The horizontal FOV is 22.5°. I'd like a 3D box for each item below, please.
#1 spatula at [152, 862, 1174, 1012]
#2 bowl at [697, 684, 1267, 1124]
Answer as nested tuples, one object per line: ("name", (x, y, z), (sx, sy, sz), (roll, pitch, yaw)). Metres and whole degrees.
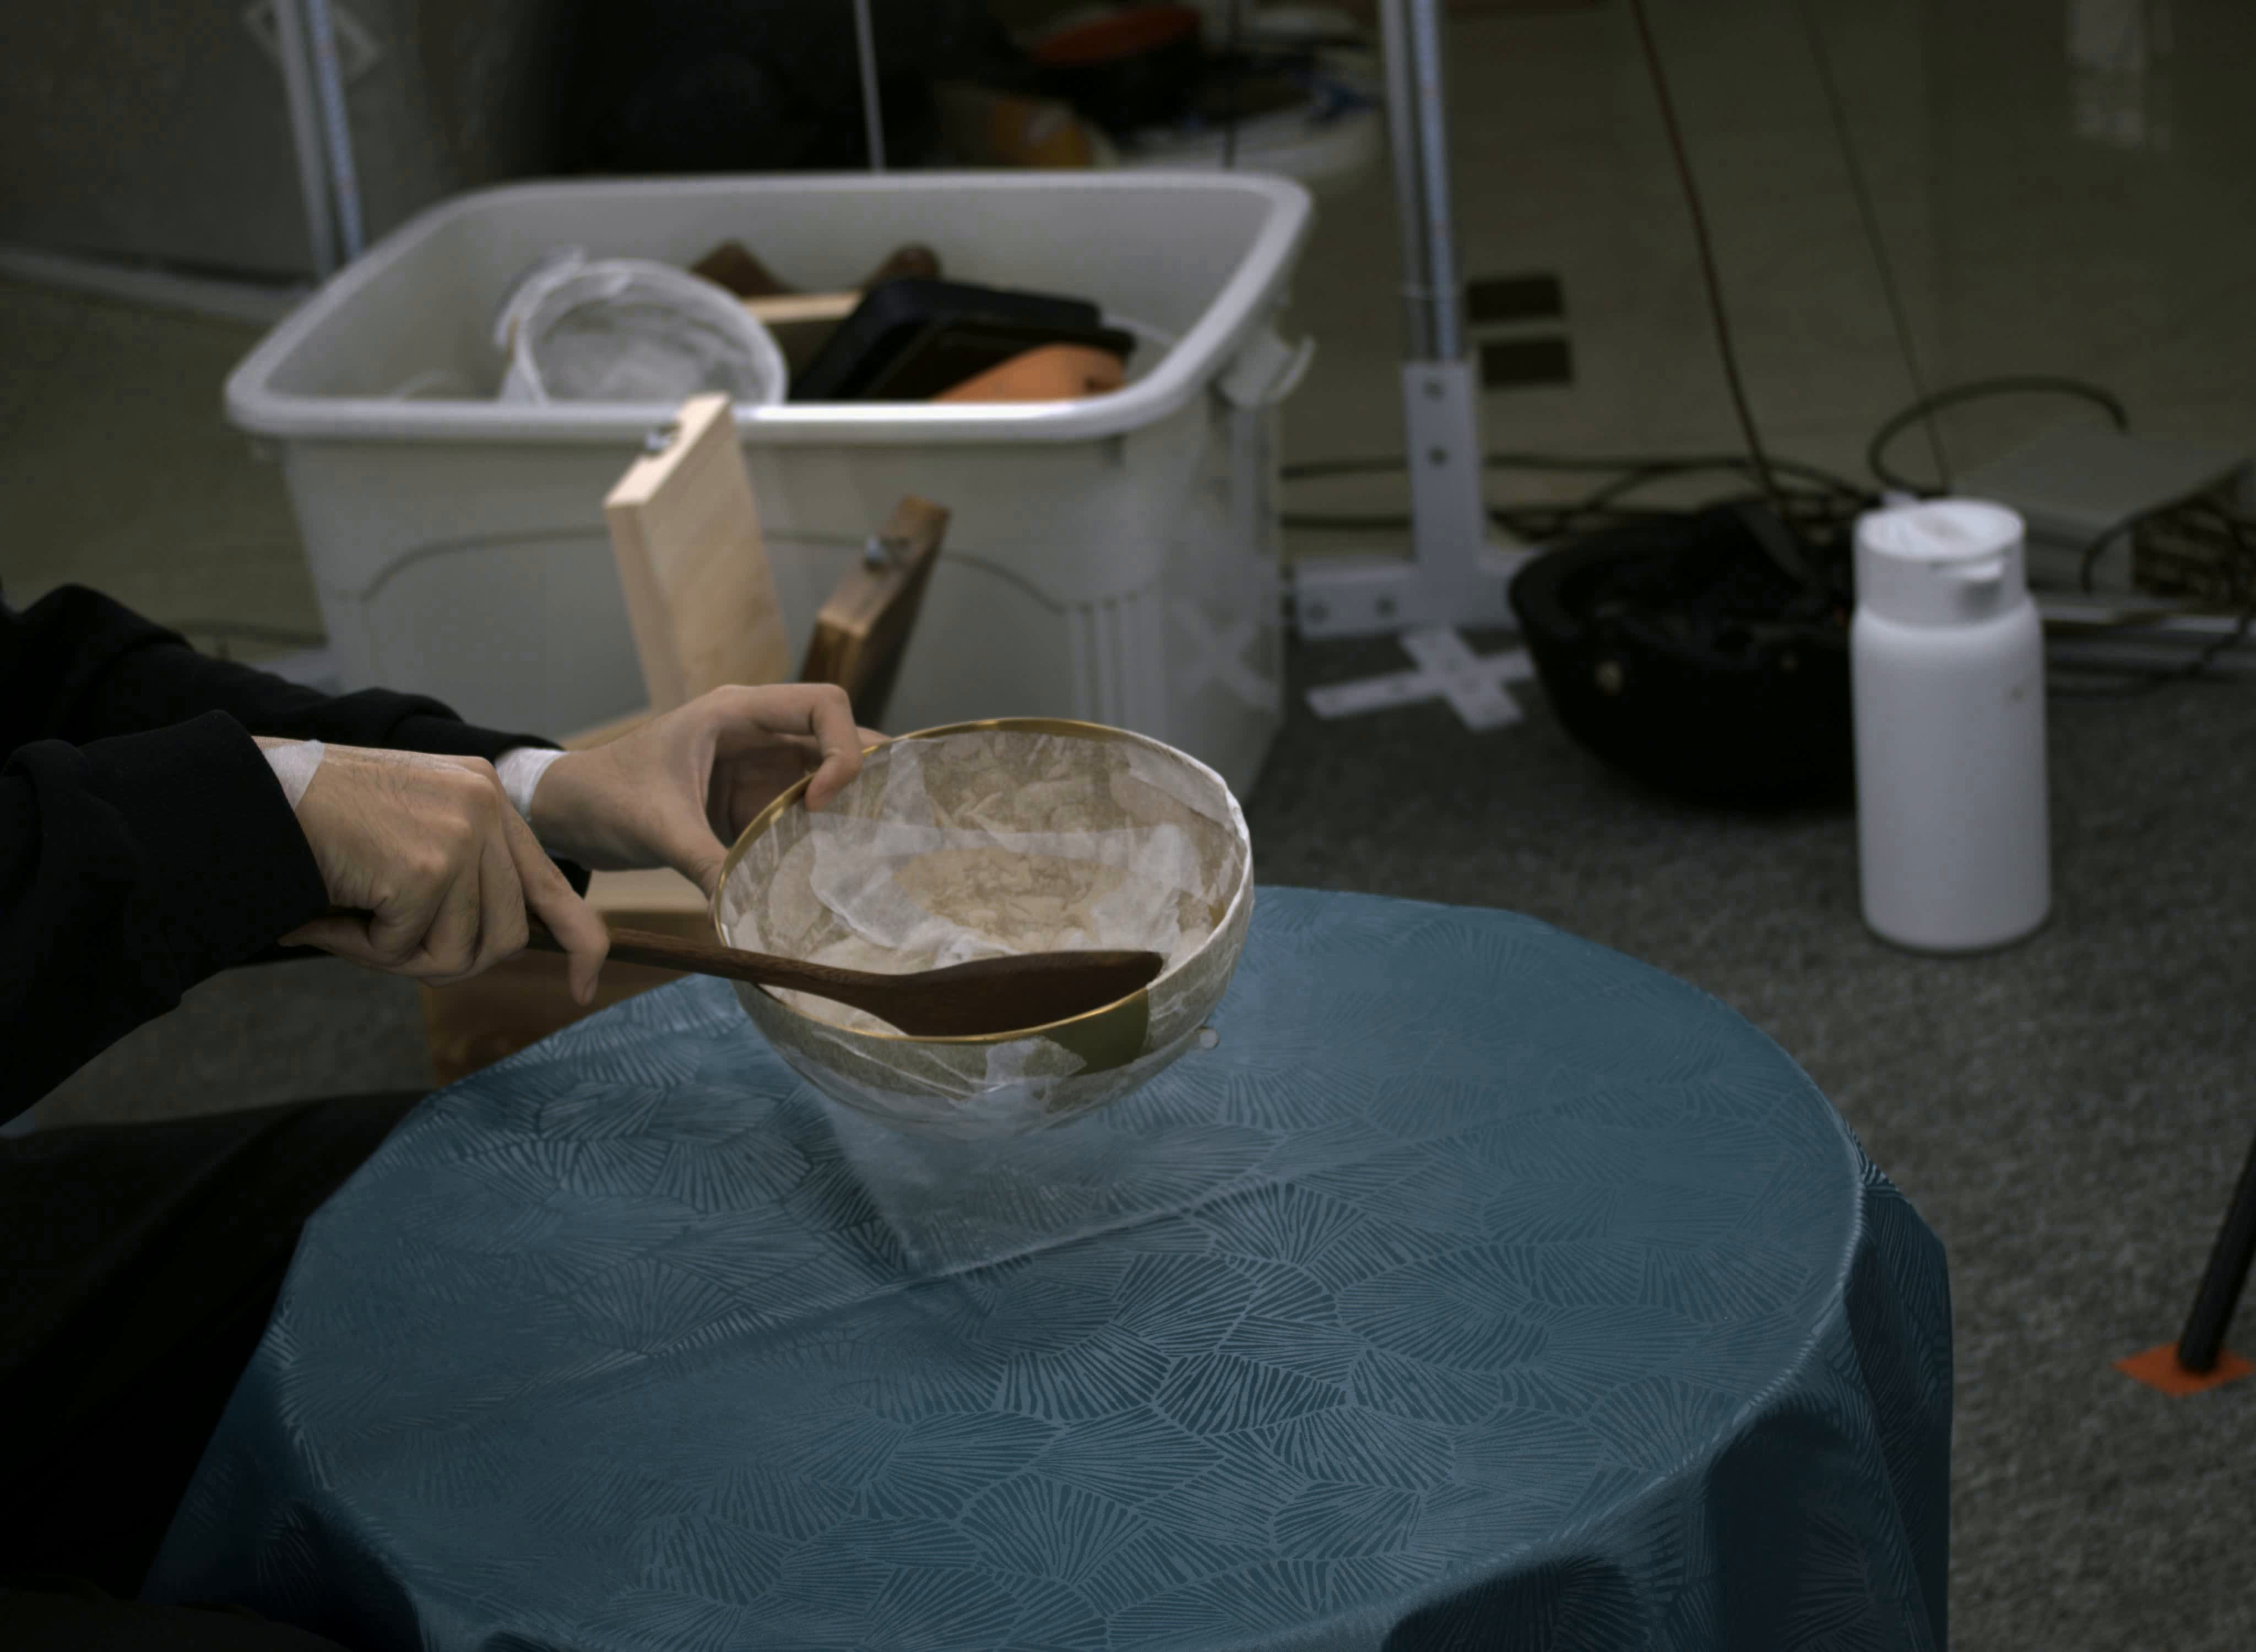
("spatula", (-0.164, 0.045, 2.036), (0.386, 0.097, 0.015), (9, 61, -26))
("bowl", (-0.056, 0.044, 2.122), (0.214, 0.096, 0.211), (2, 39, -1))
